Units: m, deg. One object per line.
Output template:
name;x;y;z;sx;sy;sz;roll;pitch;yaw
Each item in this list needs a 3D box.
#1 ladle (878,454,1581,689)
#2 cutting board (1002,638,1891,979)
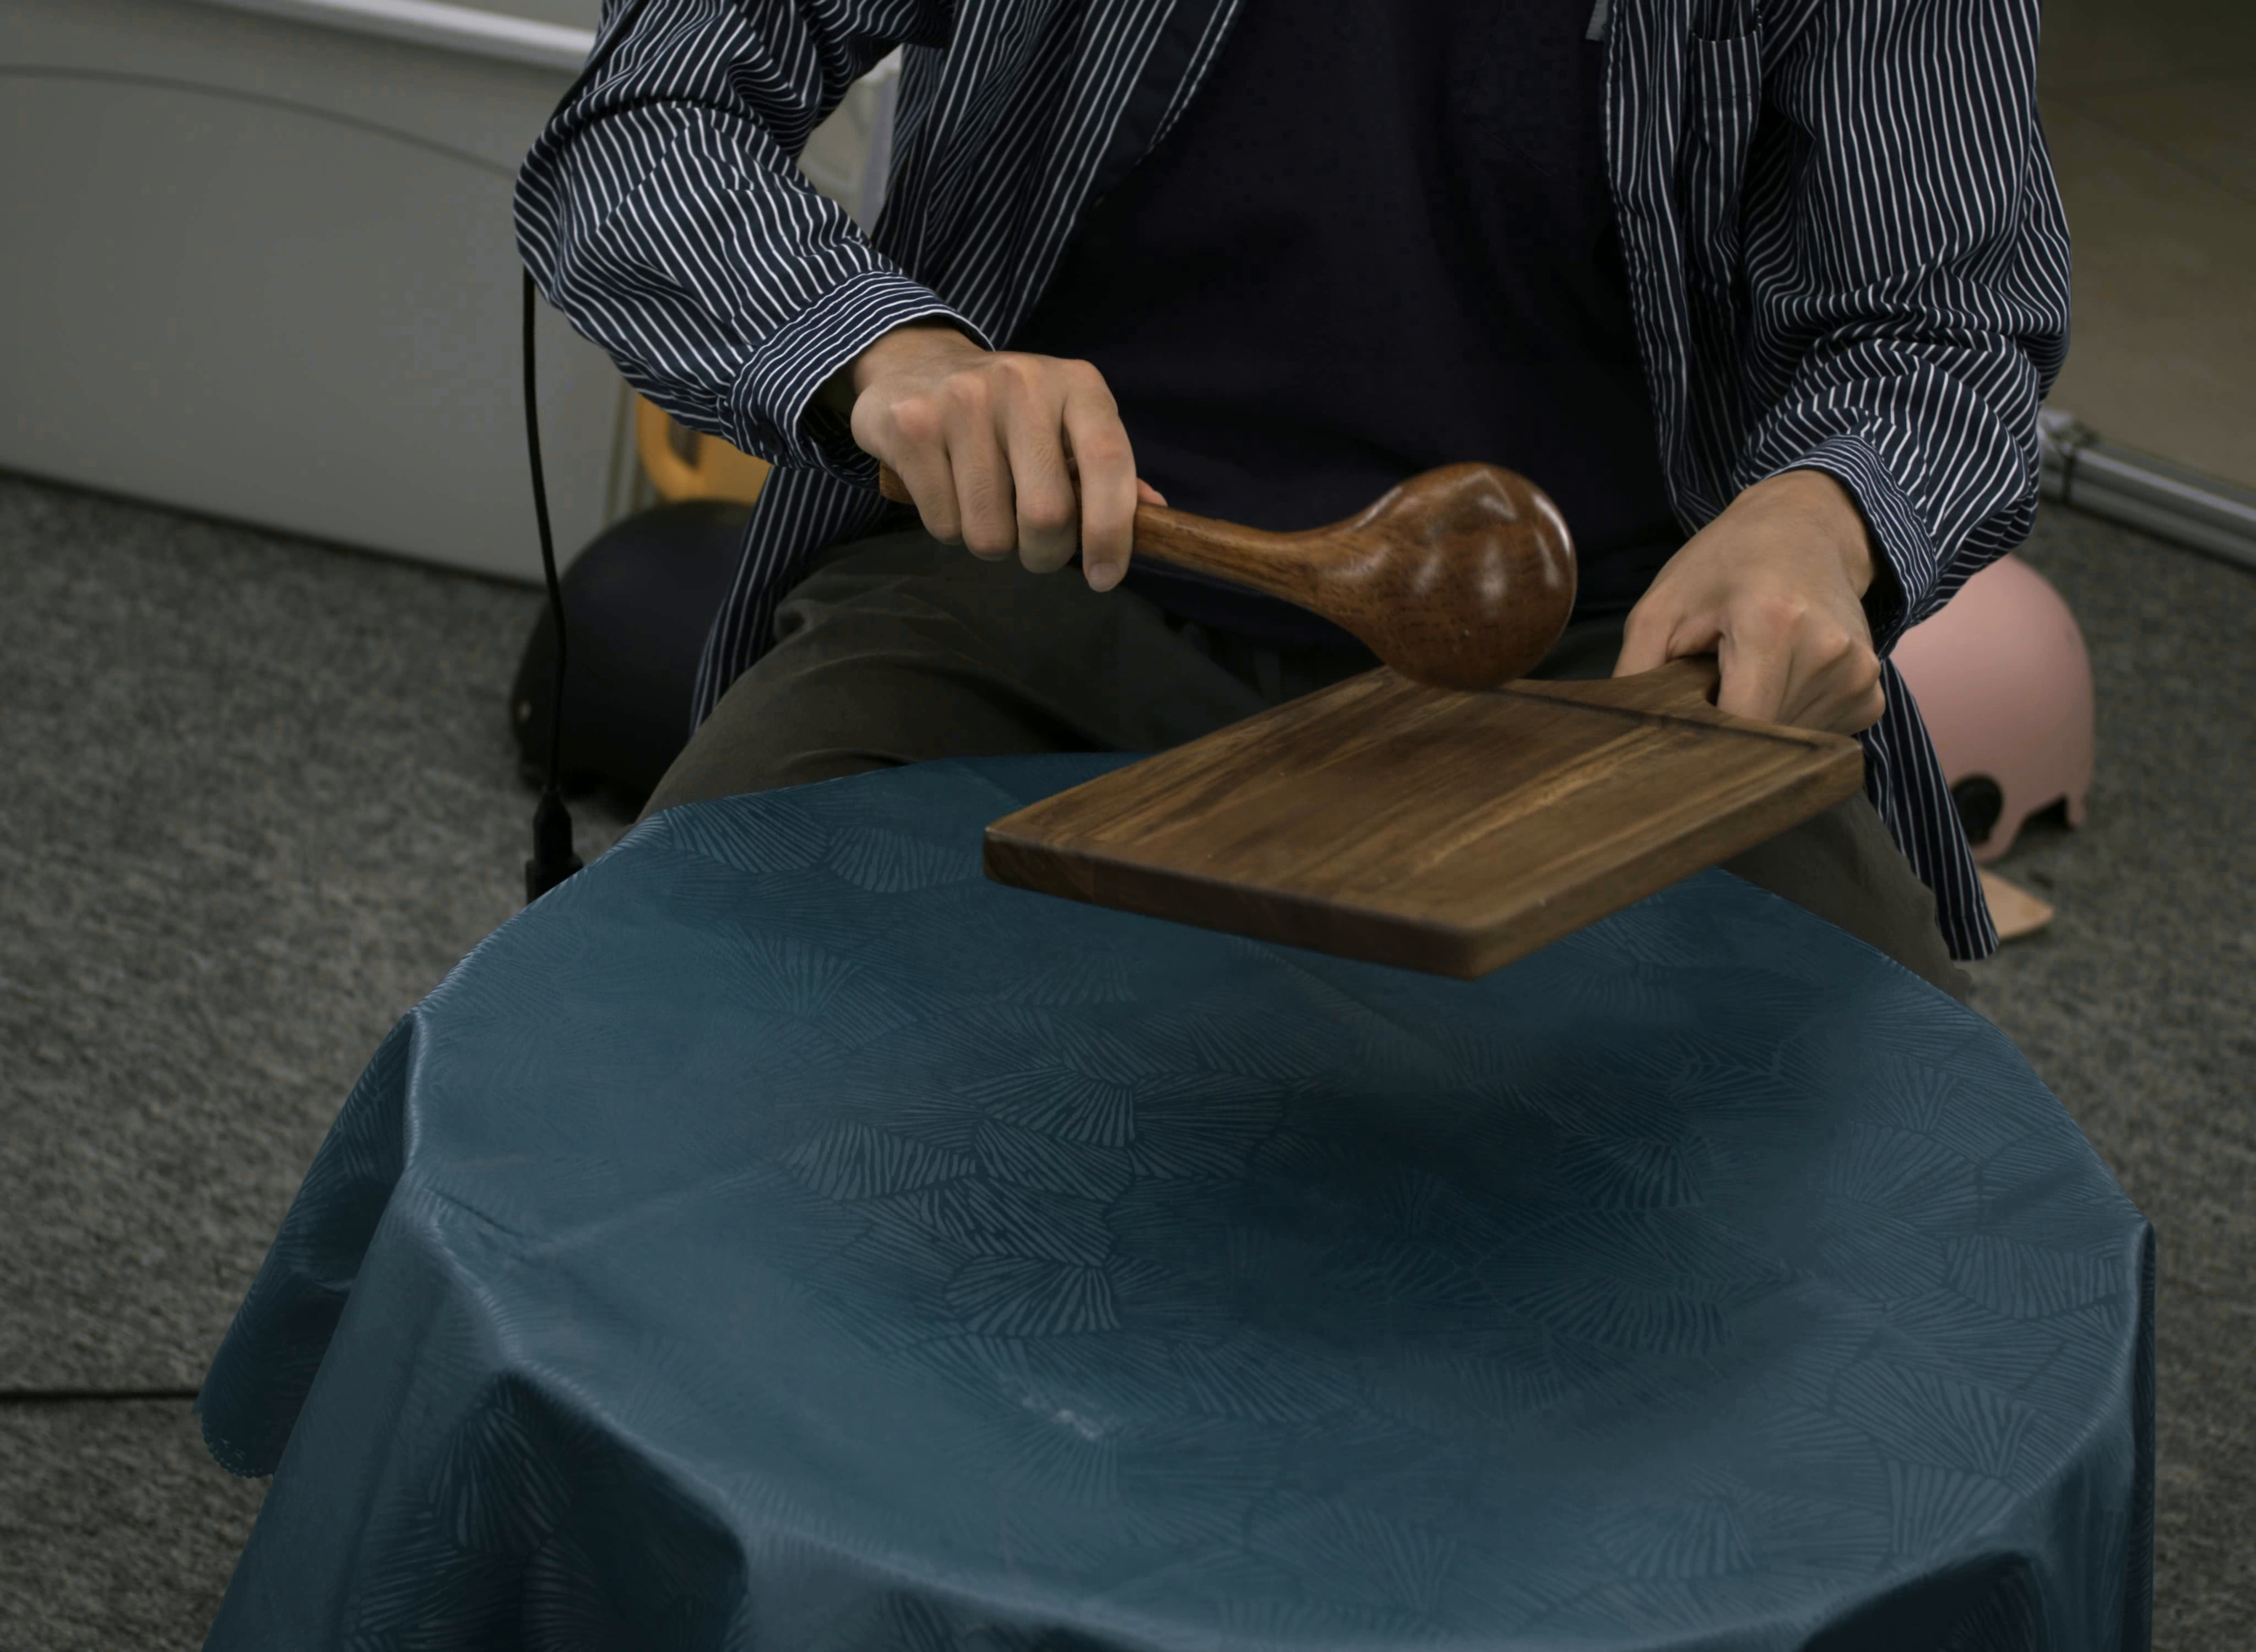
ladle;0.036;-0.108;1.902;0.276;0.082;0.076;15;15;38
cutting board;0.139;-0.016;1.804;0.202;0.023;0.350;11;20;36
